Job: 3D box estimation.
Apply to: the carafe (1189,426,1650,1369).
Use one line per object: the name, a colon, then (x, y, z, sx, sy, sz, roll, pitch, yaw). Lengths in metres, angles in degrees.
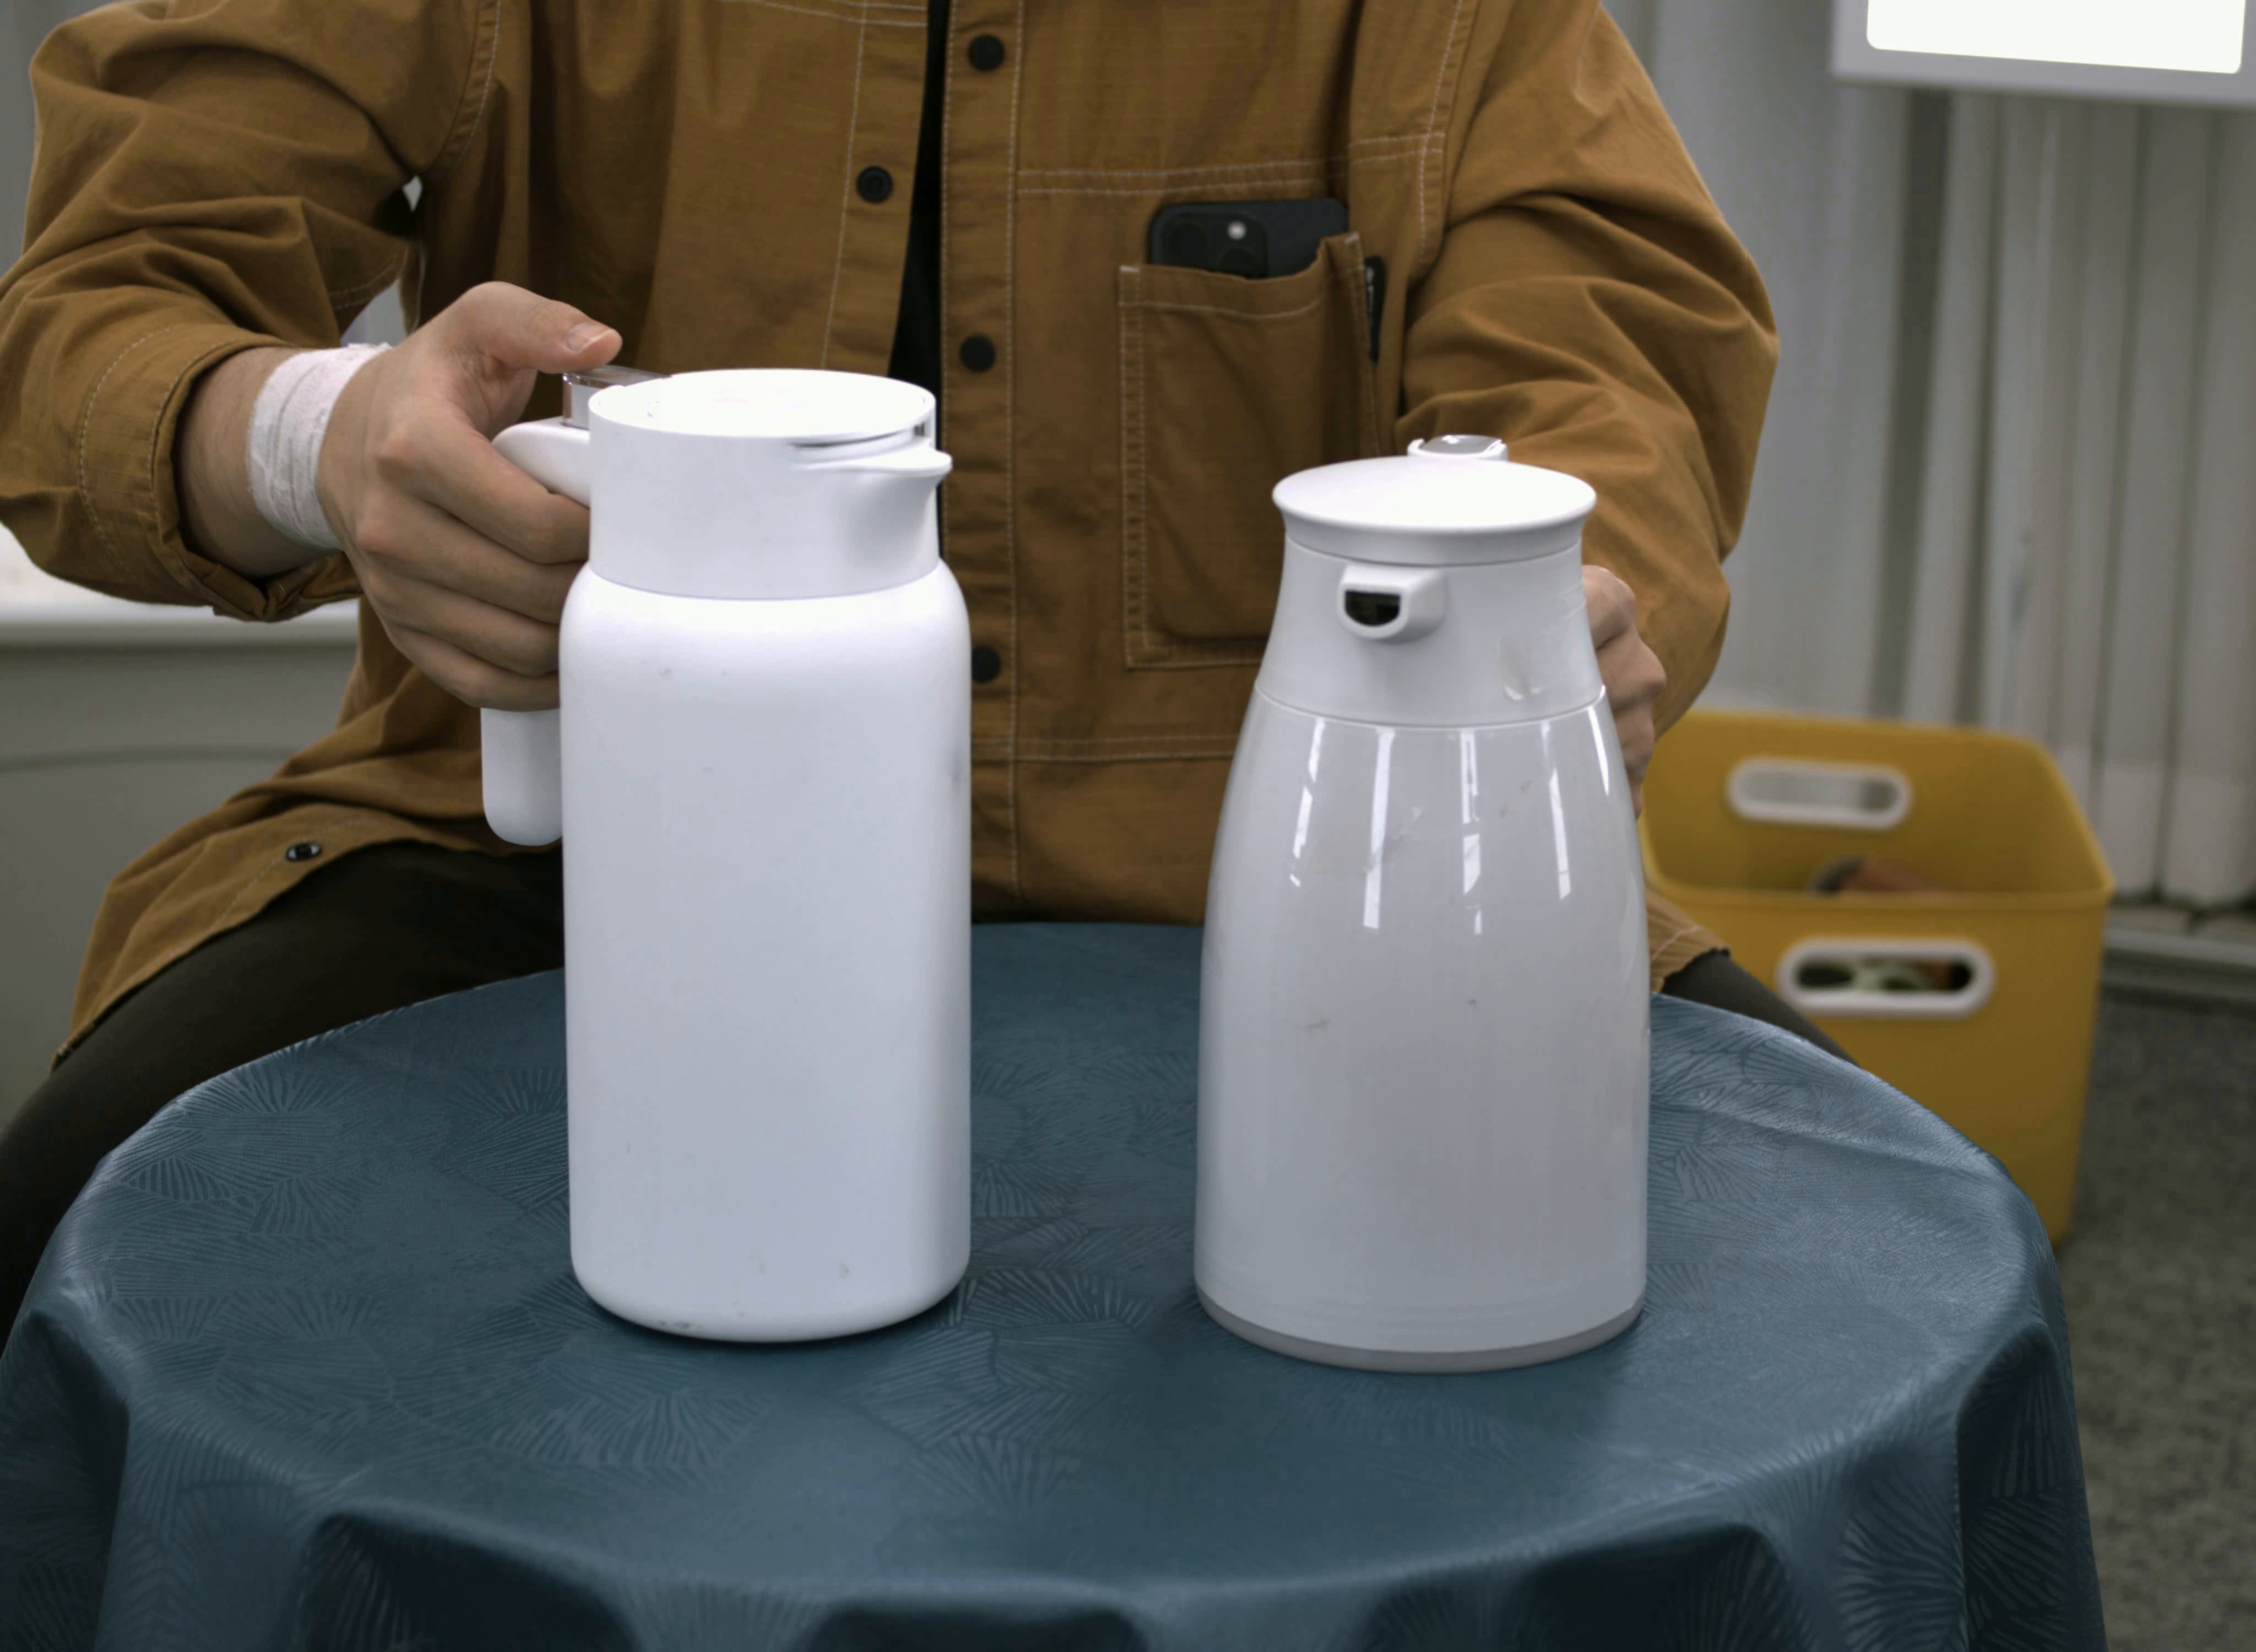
carafe: (0.090, 0.012, 1.522, 0.131, 0.250, 0.168, 5, 16, 16)

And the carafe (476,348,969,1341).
carafe: (-0.118, 0.002, 1.512, 0.170, 0.271, 0.124, 13, 22, 37)
